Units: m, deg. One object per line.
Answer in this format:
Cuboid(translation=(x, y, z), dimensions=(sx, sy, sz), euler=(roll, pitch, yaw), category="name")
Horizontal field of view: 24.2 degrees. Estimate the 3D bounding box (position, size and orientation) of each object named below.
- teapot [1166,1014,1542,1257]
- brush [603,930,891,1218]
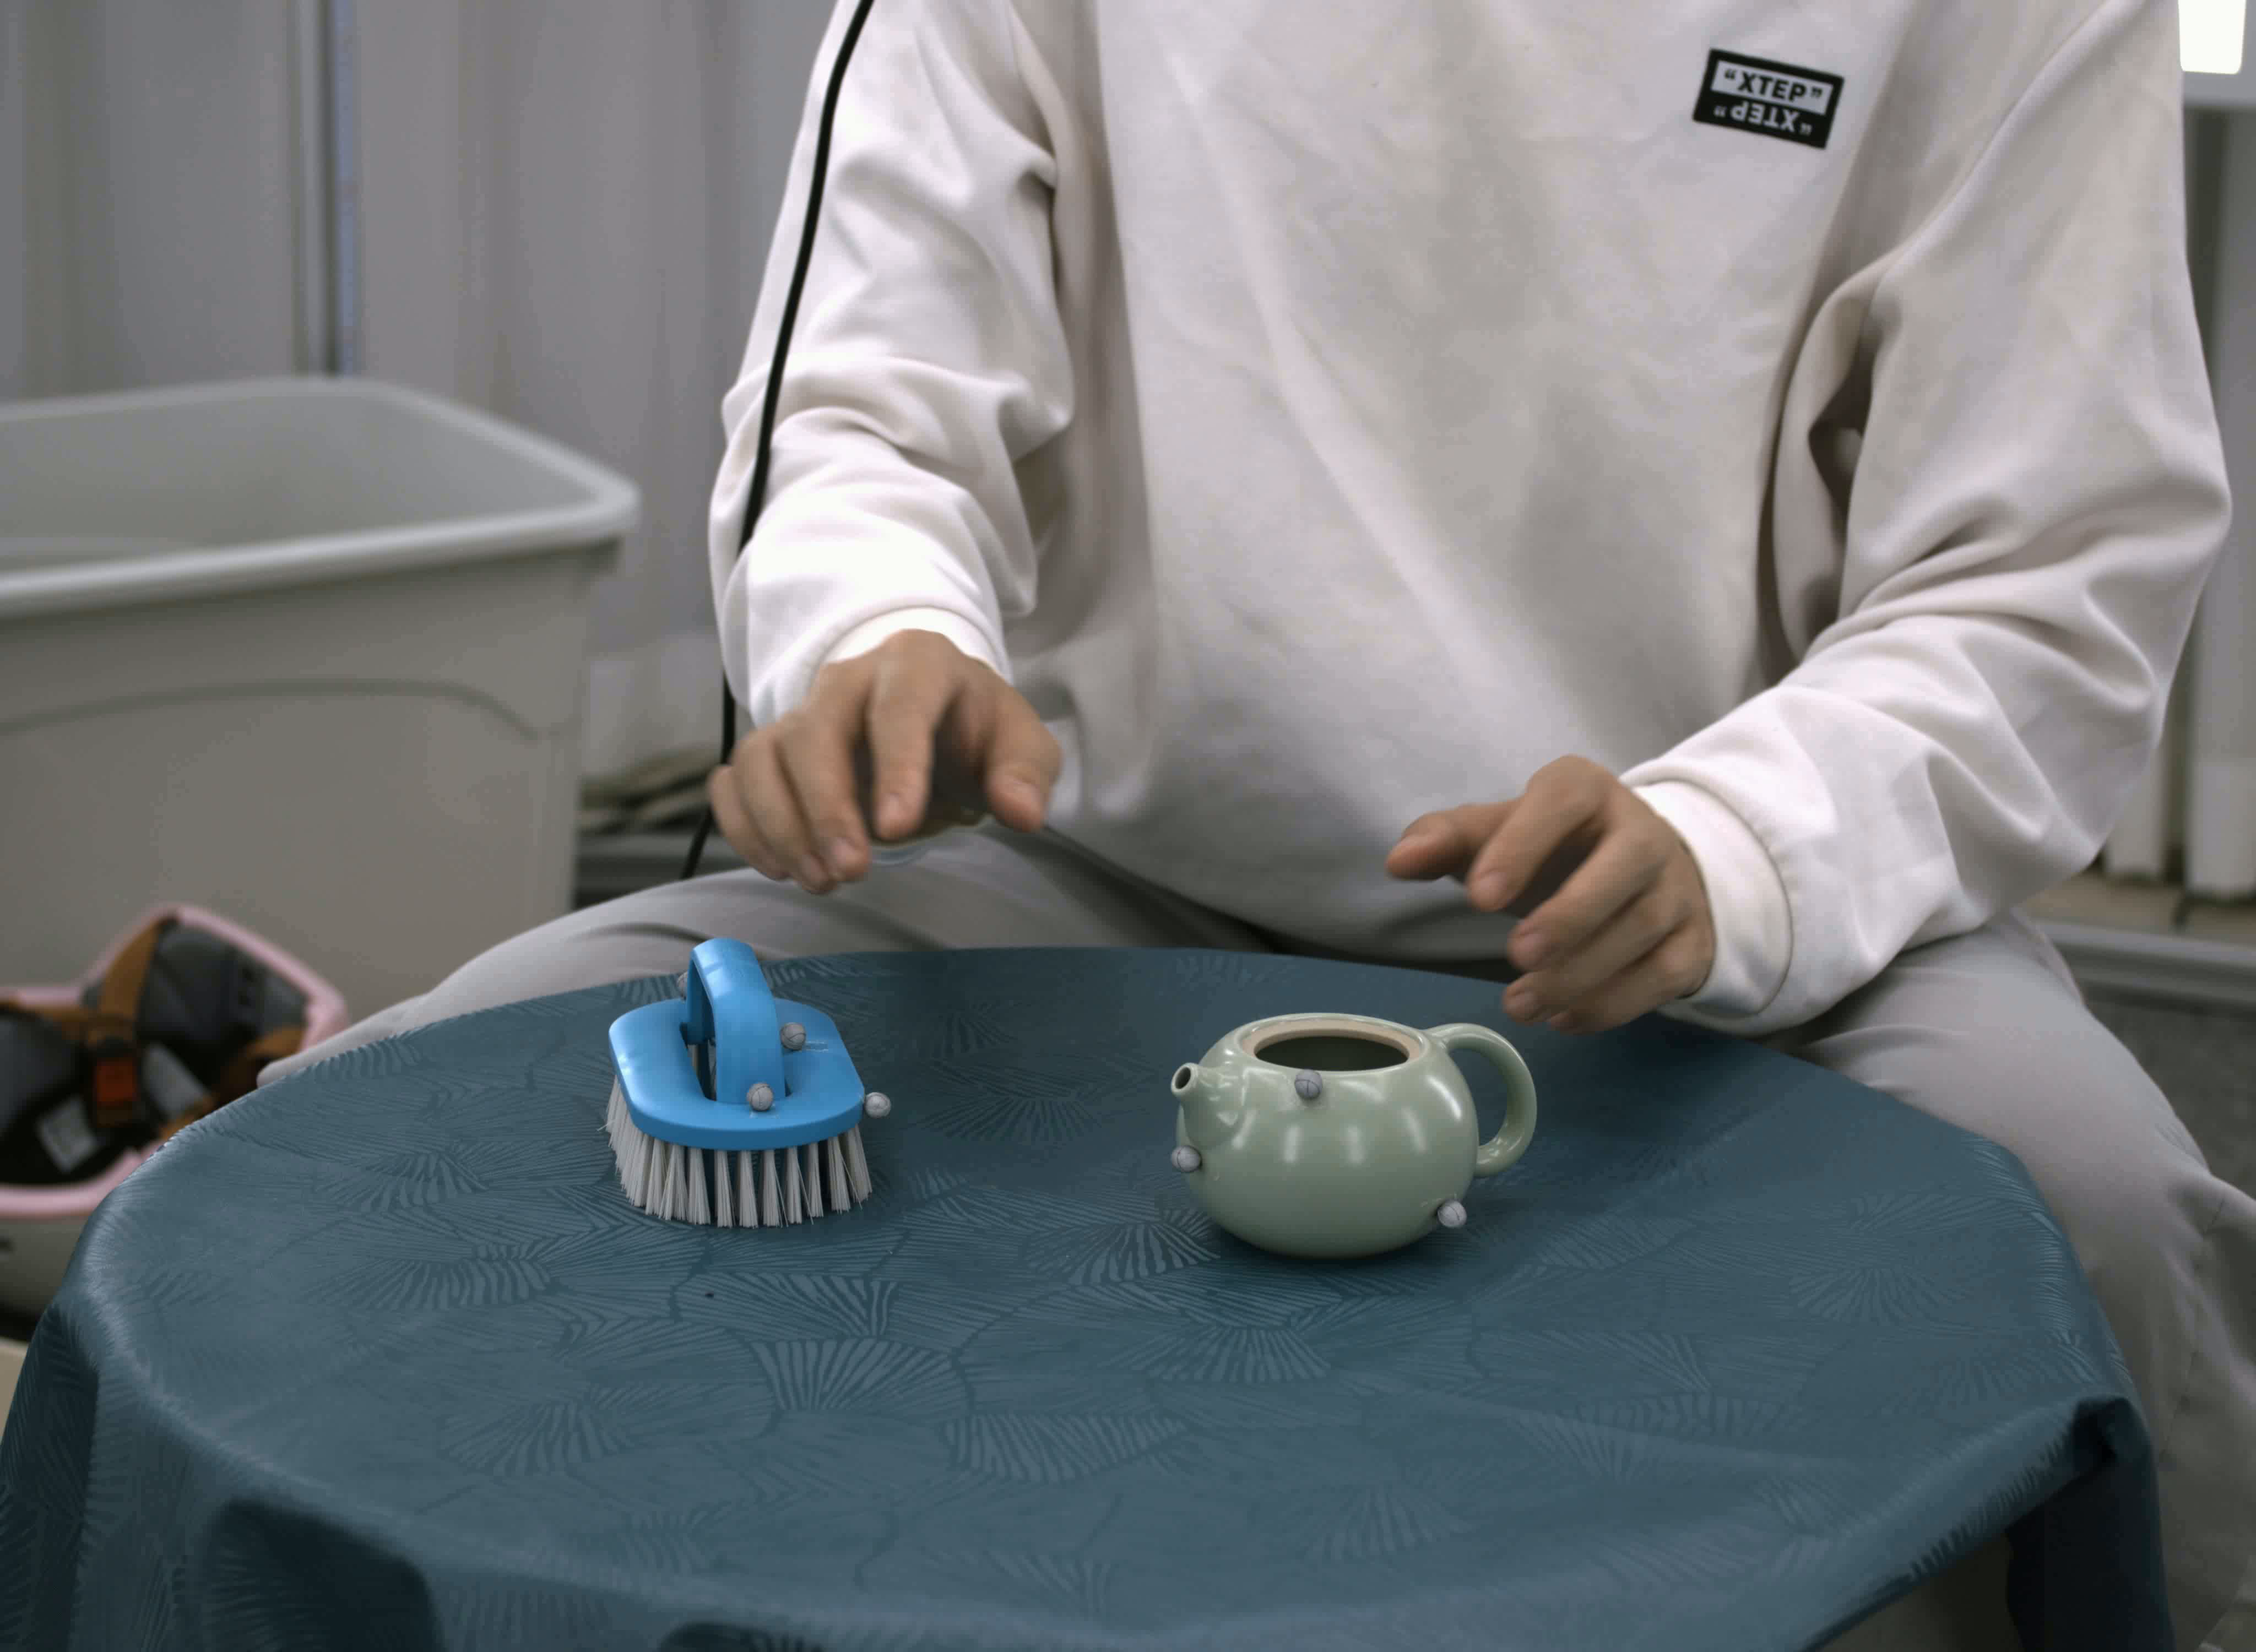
Cuboid(translation=(0.069, 0.093, 1.594), dimensions=(0.129, 0.061, 0.090), euler=(-5, 14, -25), category="teapot")
Cuboid(translation=(-0.123, 0.071, 1.648), dimensions=(0.084, 0.064, 0.140), euler=(-7, 16, -8), category="brush")
